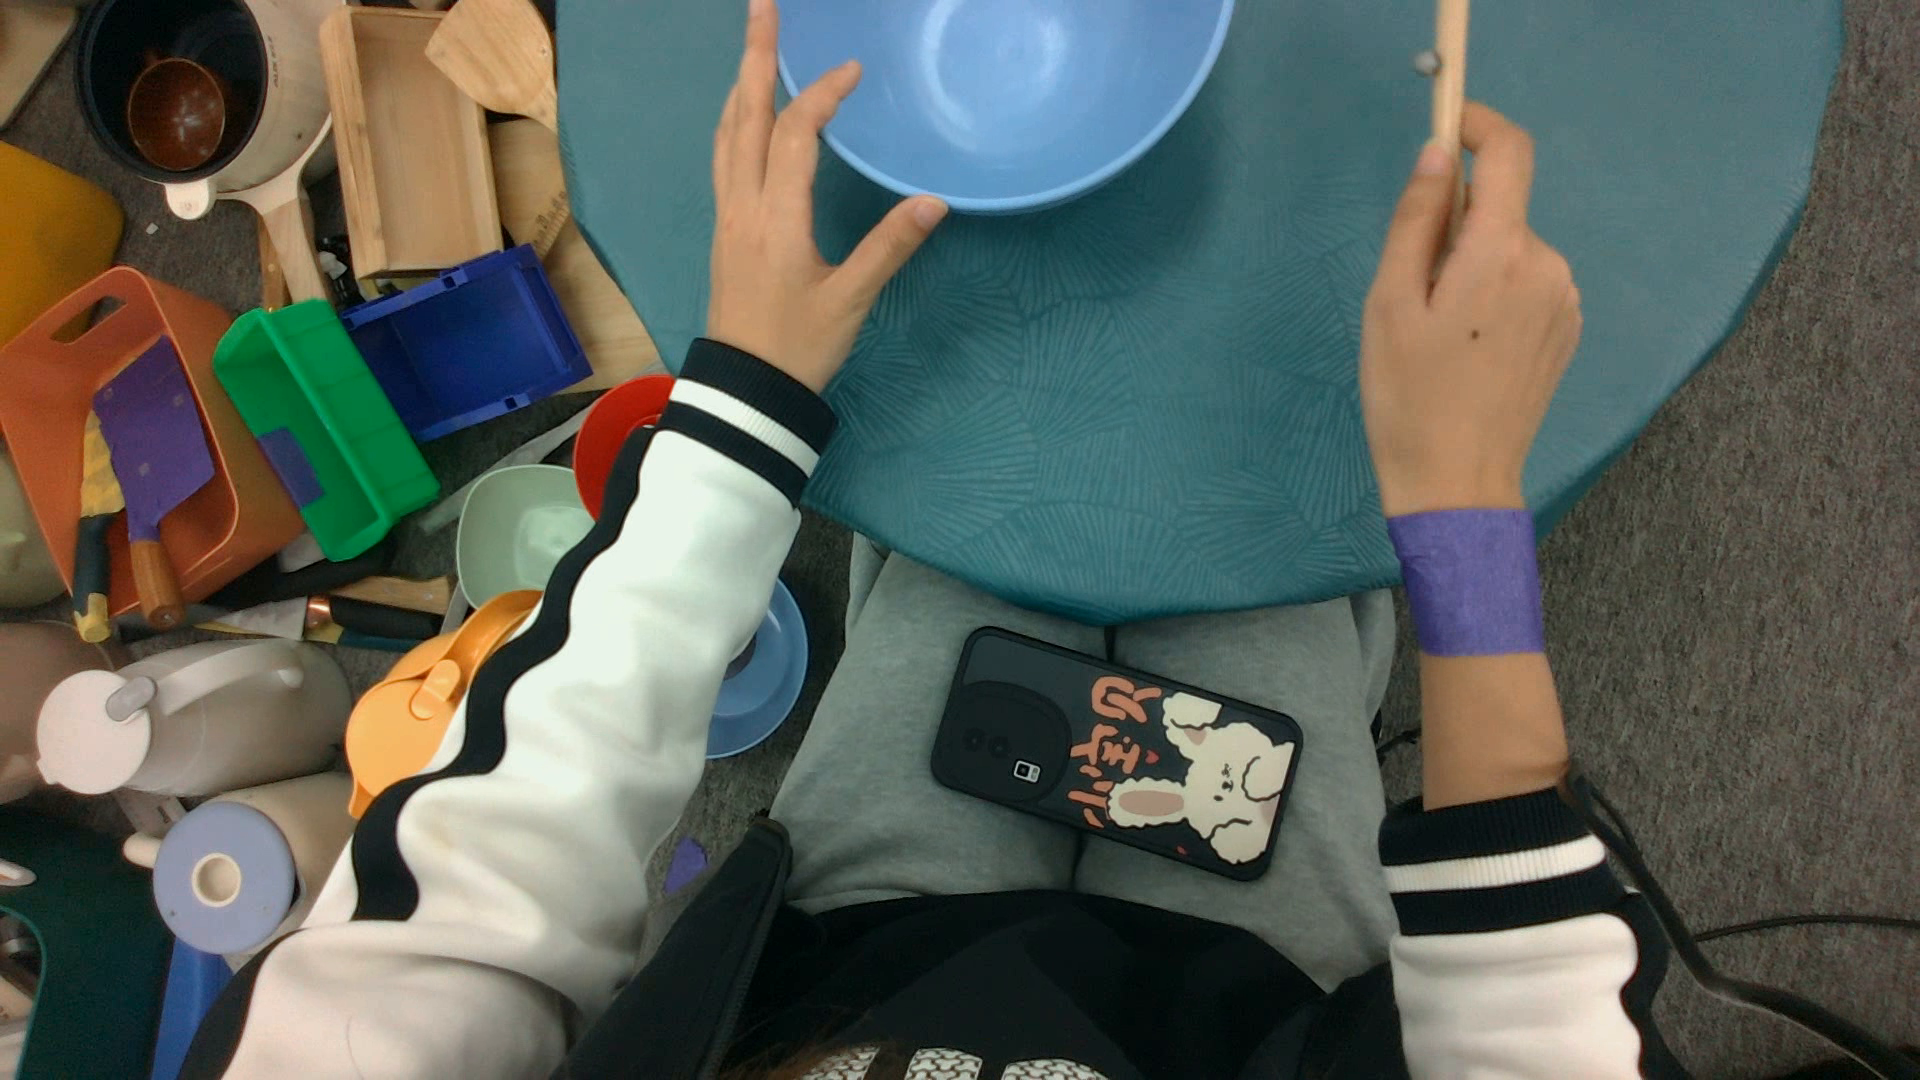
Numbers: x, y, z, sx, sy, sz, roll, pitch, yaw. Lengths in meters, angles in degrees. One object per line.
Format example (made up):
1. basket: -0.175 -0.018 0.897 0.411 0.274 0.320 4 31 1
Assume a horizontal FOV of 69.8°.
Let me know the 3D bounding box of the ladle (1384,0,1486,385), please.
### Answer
1. ladle: 0.133 -0.173 0.469 0.073 0.072 0.254 -14 98 -29

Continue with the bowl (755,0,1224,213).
1. bowl: 0.015 -0.232 0.614 0.196 0.095 0.196 0 87 4
